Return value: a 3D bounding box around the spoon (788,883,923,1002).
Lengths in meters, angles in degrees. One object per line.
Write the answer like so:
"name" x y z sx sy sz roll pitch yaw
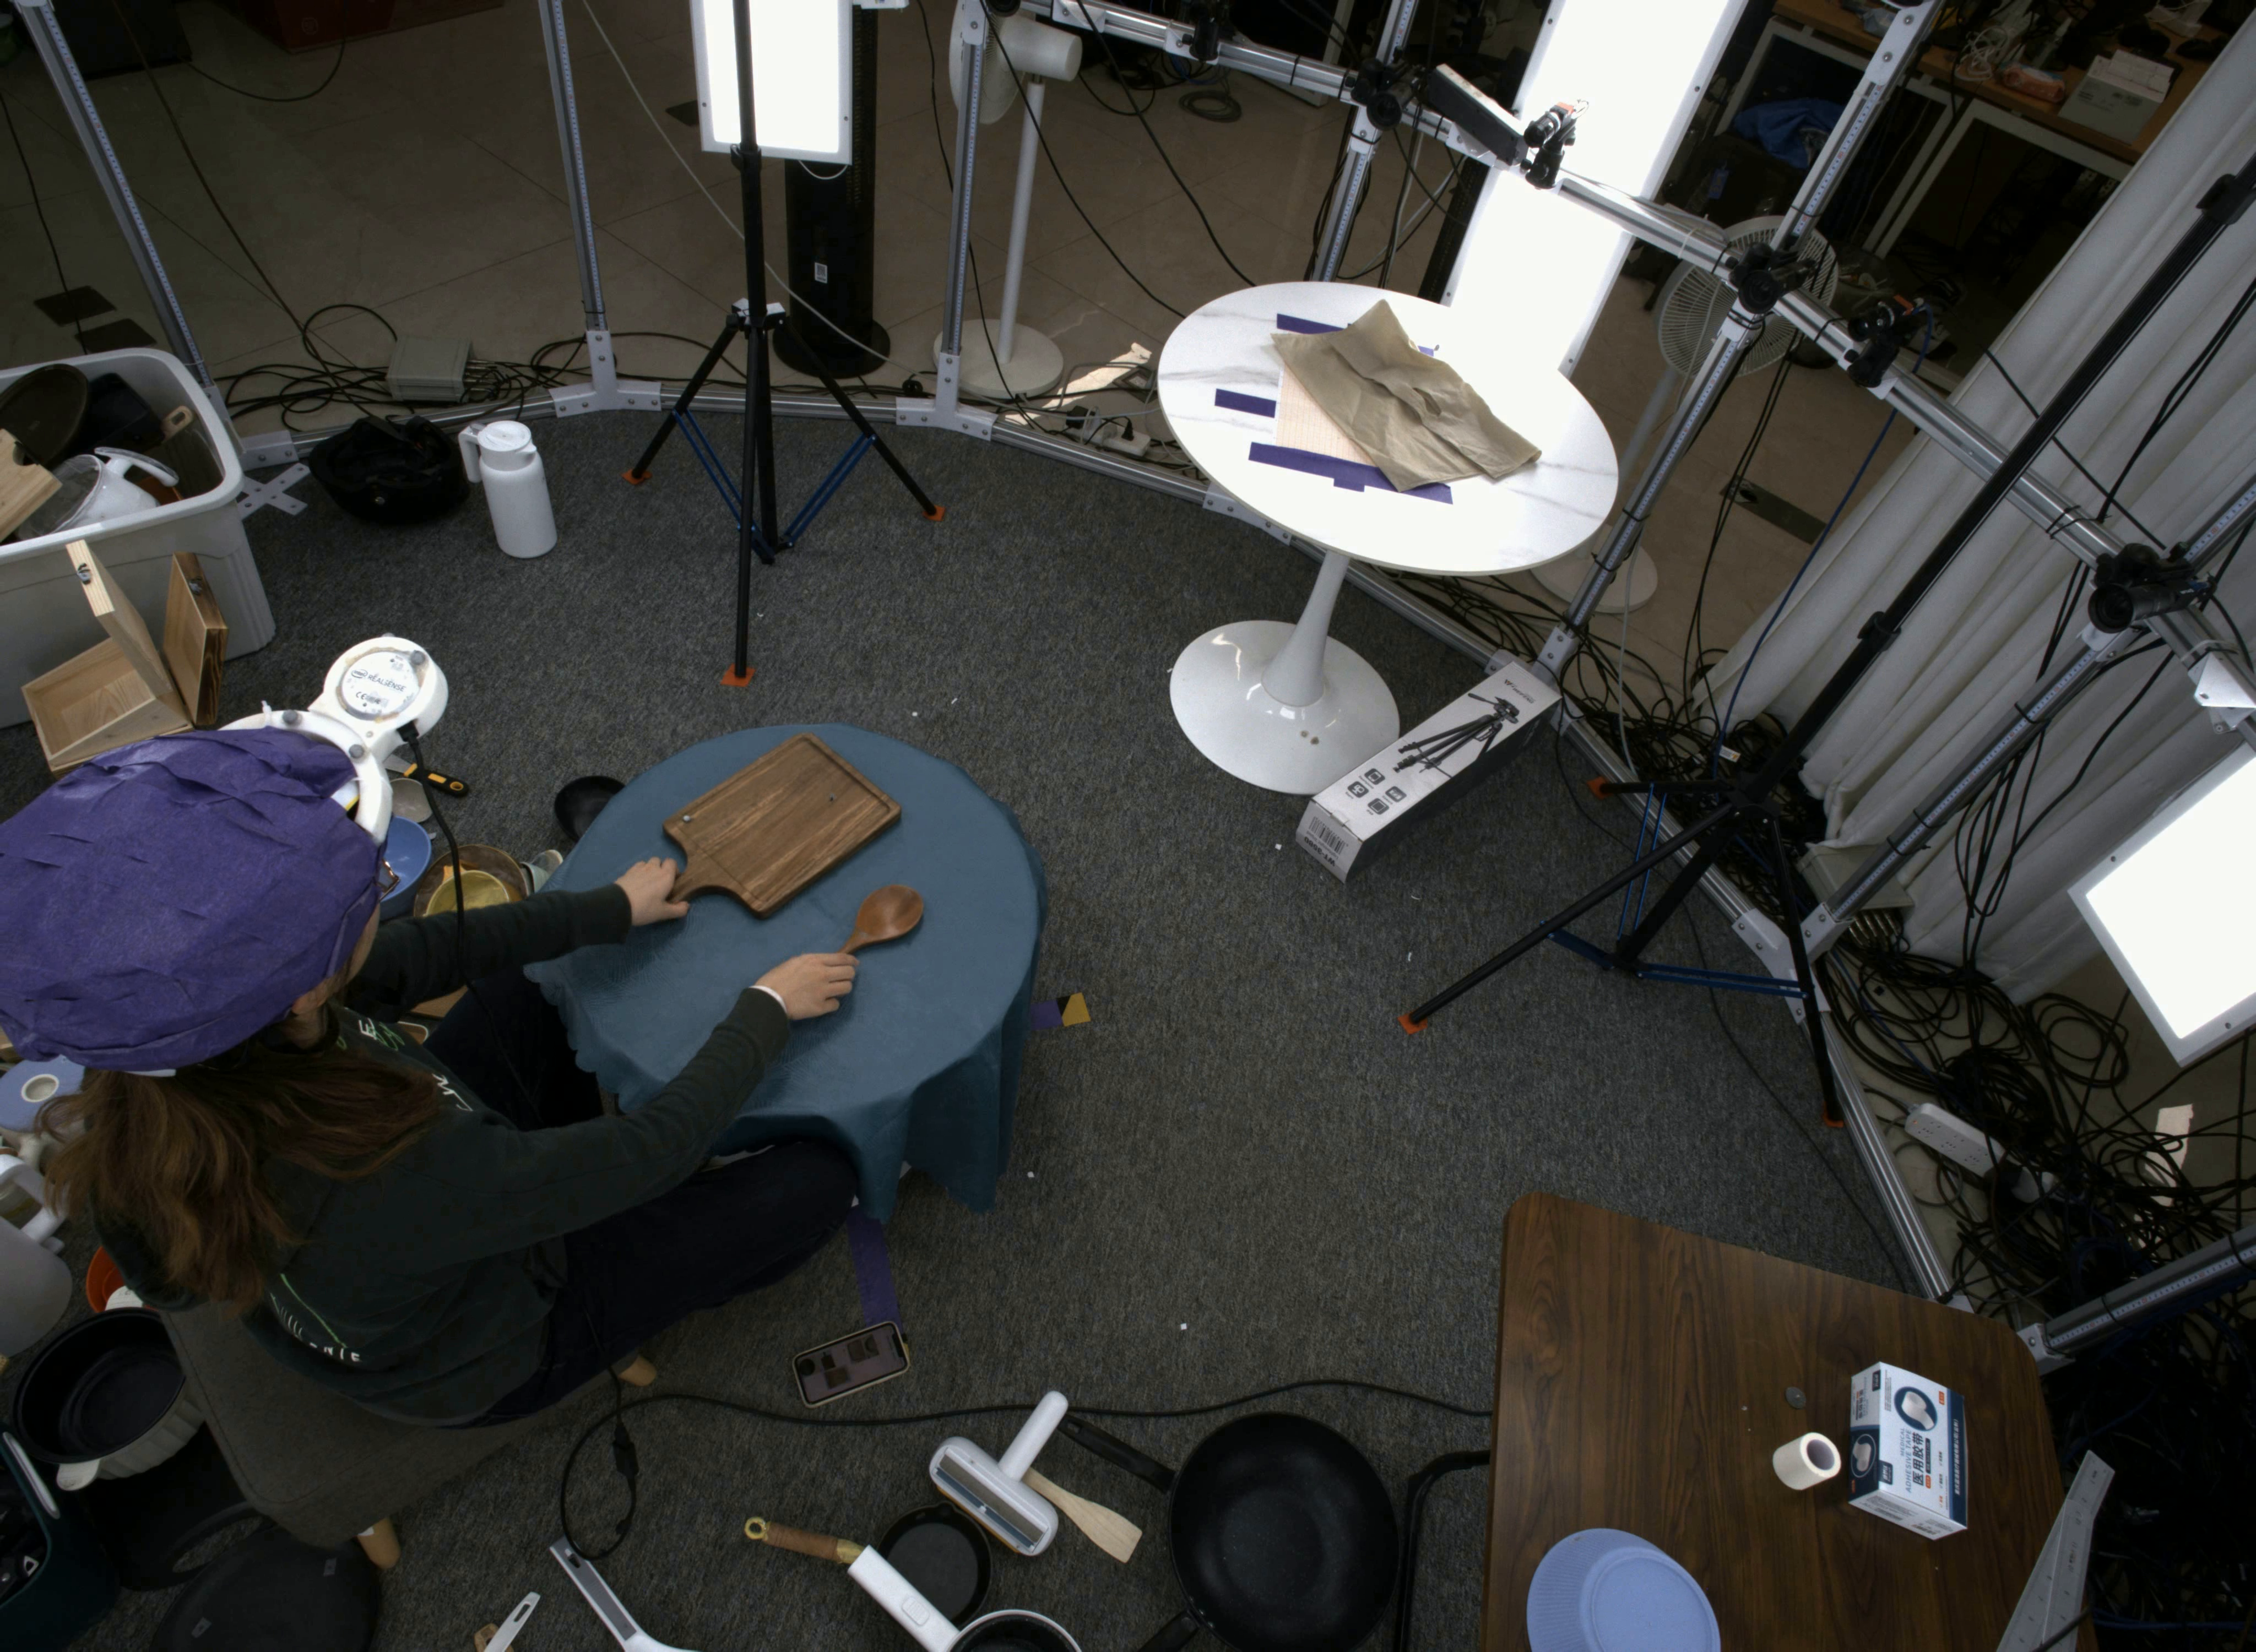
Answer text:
"spoon" -0.343 0.145 1.630 0.074 0.017 0.216 38 53 12

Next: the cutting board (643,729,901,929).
"cutting board" -0.487 0.018 1.688 0.197 0.023 0.352 39 55 14
